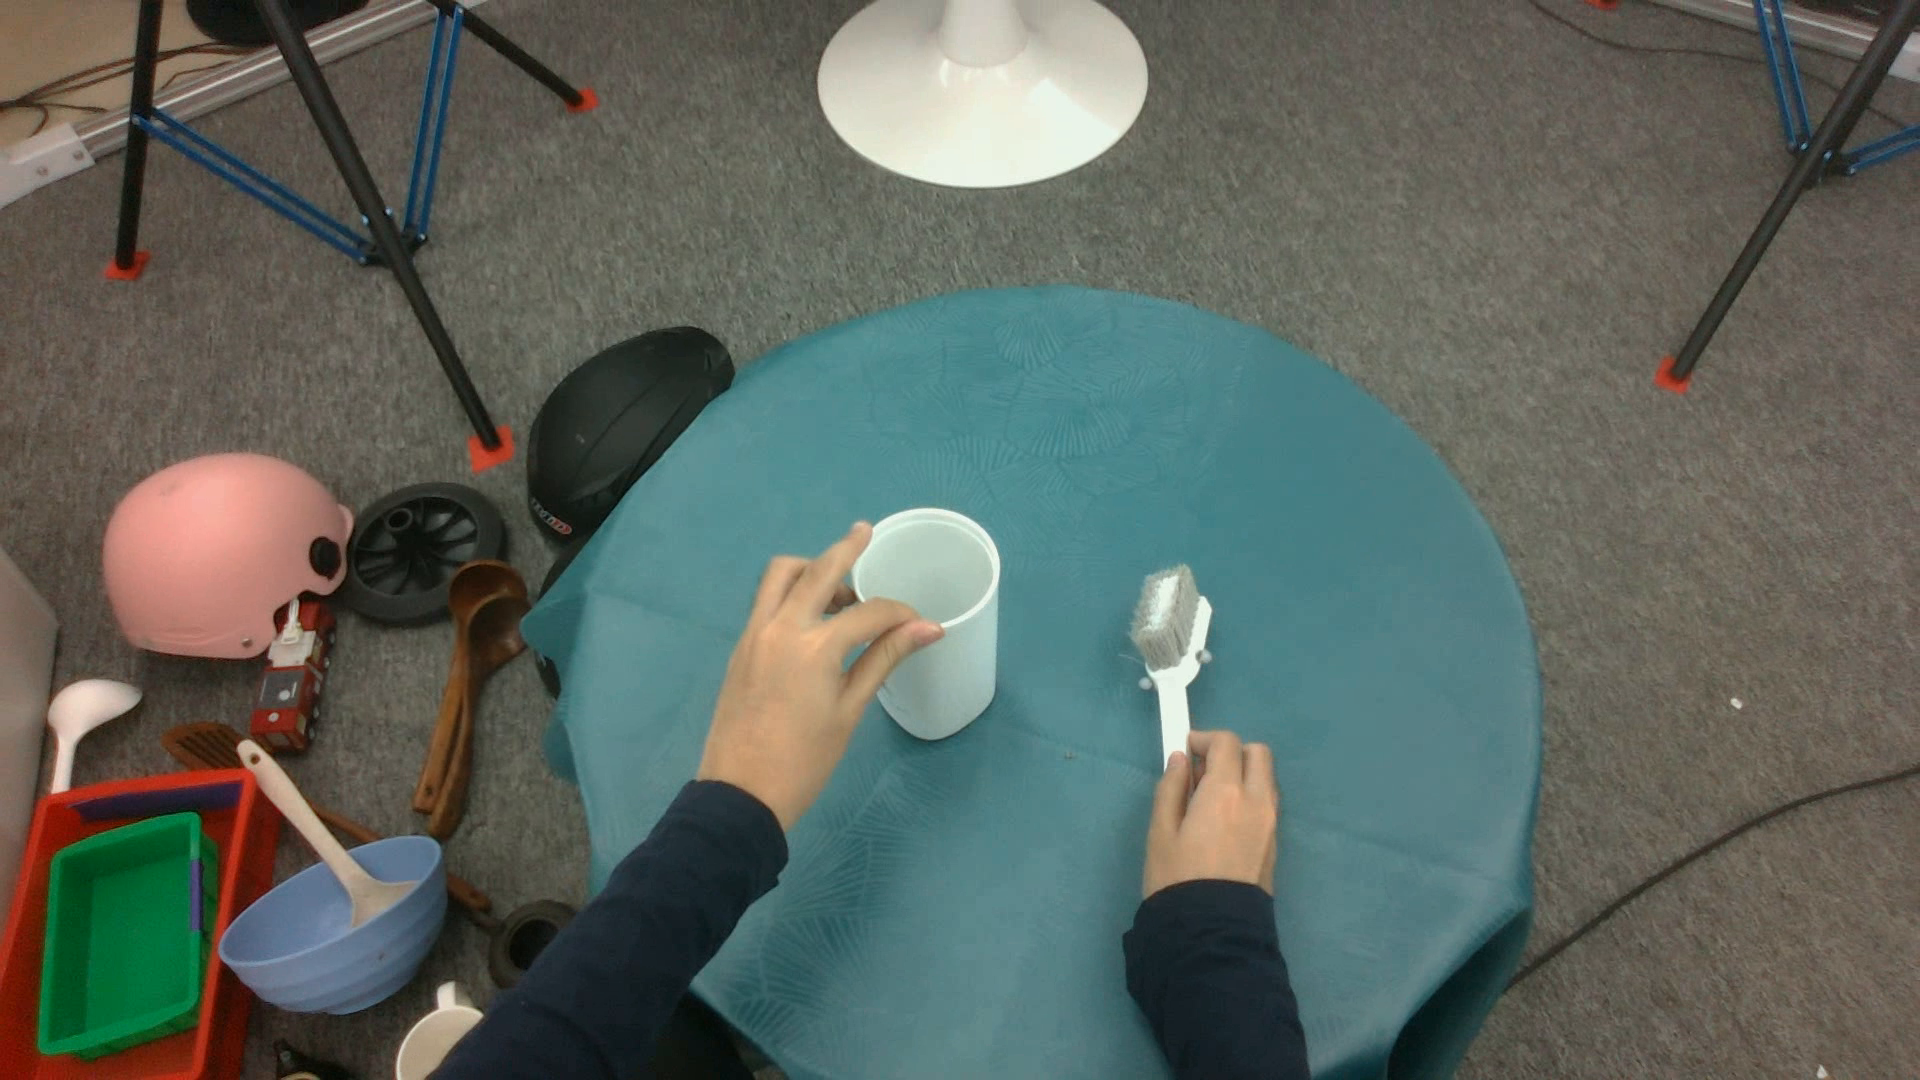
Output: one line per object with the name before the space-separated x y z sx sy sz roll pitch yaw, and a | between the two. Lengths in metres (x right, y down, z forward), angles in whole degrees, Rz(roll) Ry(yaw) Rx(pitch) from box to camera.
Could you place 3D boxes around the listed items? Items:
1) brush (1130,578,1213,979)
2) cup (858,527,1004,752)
brush | 0.116 0.127 0.795 0.034 0.050 0.245 -8 50 27
cup | -0.014 0.062 0.804 0.081 0.125 0.082 -1 53 2
